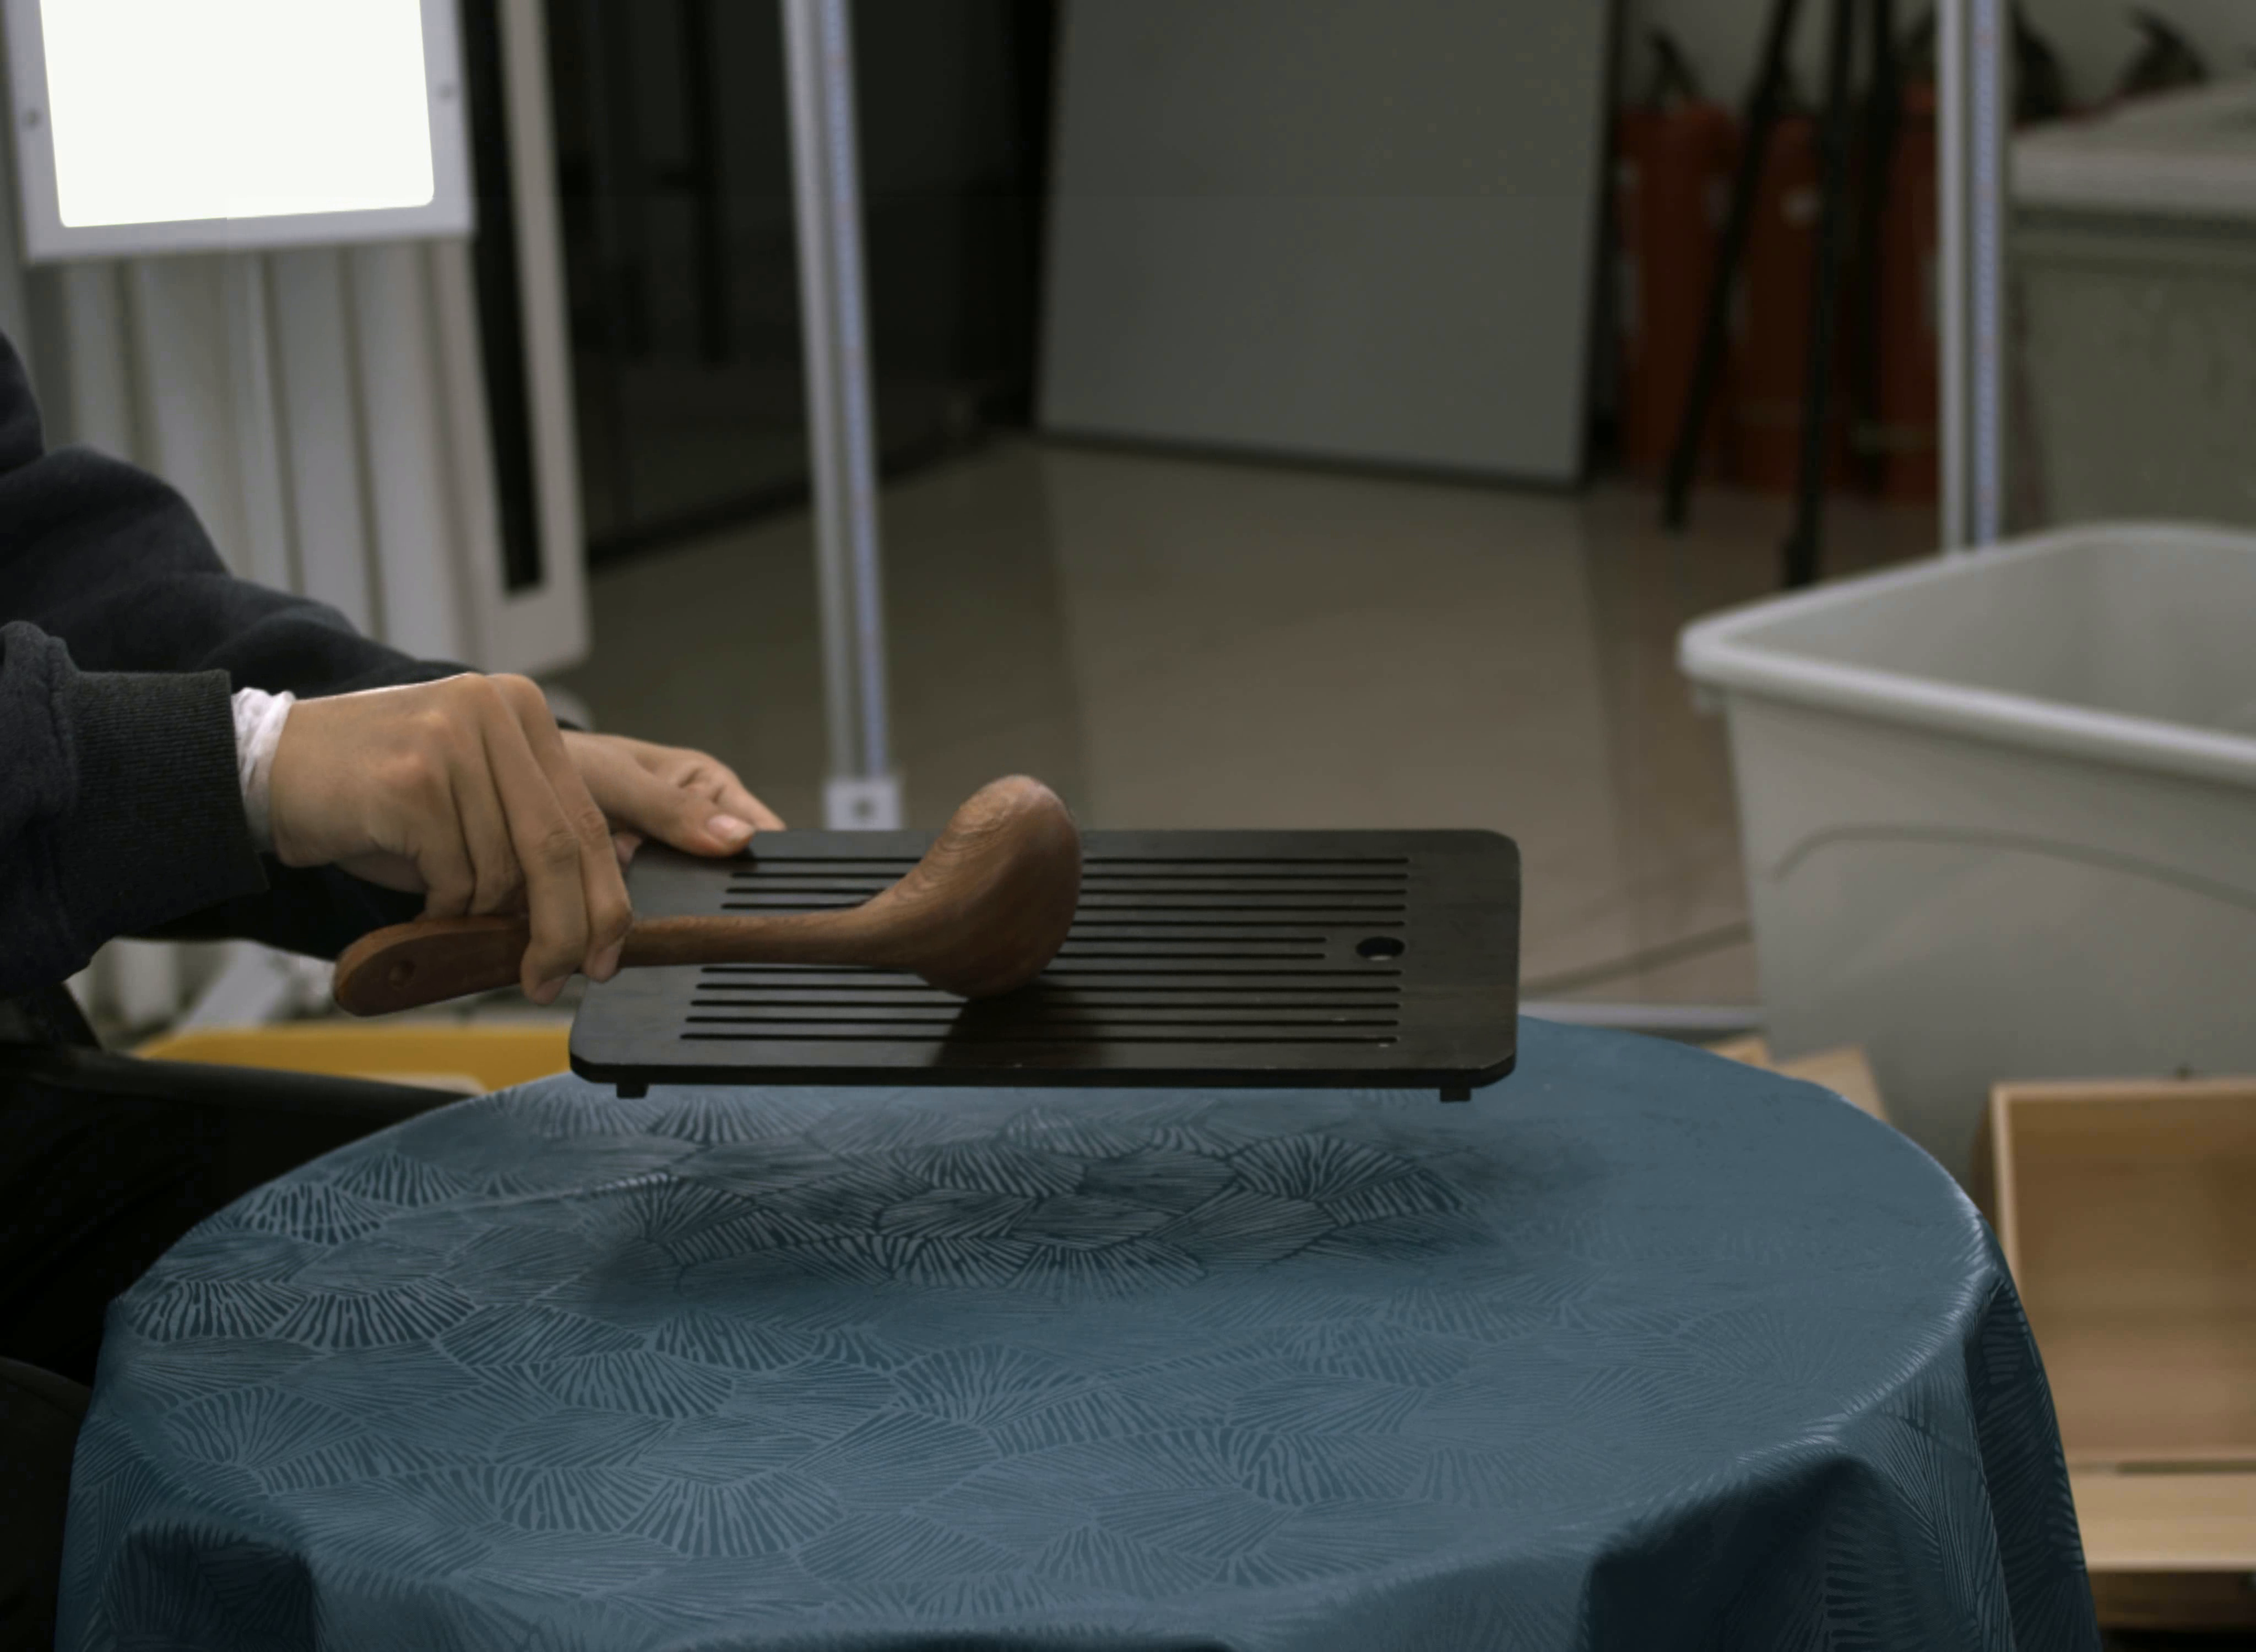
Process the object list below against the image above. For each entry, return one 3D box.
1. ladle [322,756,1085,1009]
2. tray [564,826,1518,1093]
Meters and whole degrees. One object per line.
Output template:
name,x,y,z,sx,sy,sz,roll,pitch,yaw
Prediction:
ladle,-0.130,0.025,1.687,0.255,0.077,0.066,-5,20,-19
tray,-0.024,0.043,1.769,0.303,0.019,0.170,0,25,7
